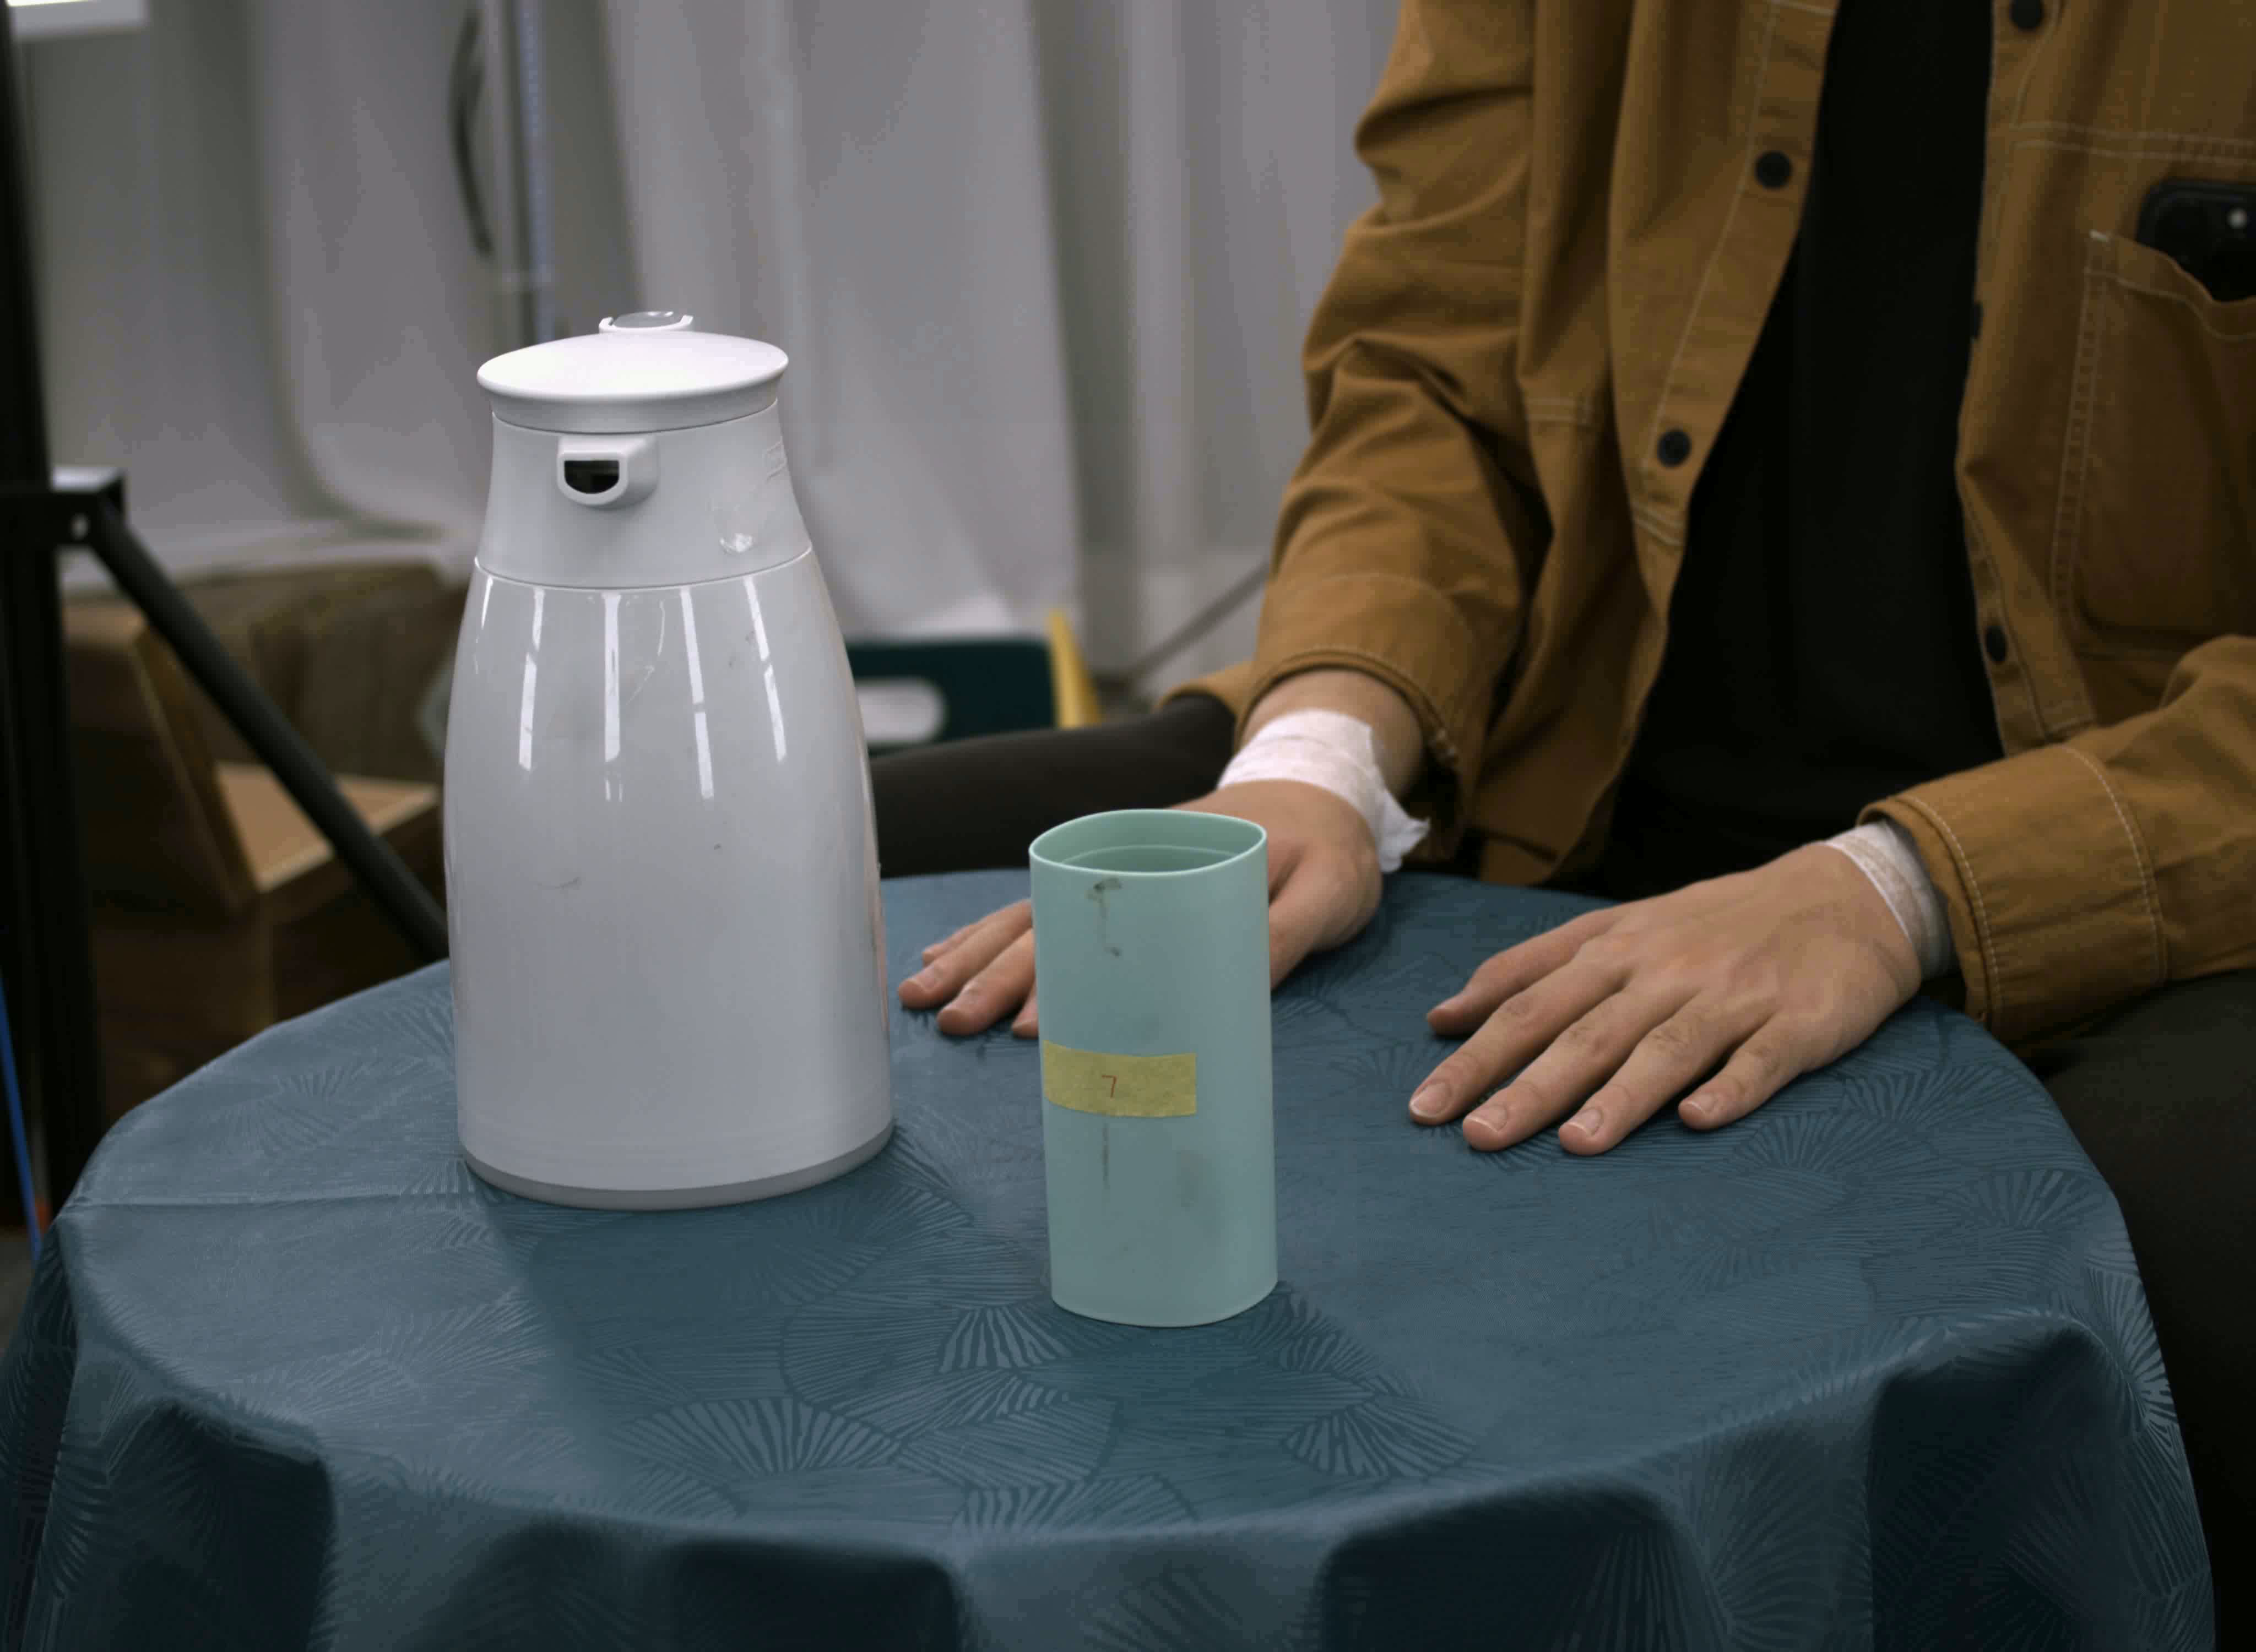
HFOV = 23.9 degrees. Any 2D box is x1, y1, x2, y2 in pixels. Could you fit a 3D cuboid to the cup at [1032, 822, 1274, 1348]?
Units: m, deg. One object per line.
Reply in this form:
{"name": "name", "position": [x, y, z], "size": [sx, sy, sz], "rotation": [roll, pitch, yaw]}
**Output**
{"name": "cup", "position": [0.009, 0.070, 1.461], "size": [0.066, 0.132, 0.067], "rotation": [-2, 15, -1]}

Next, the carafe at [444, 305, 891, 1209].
{"name": "carafe", "position": [-0.140, -0.029, 1.610], "size": [0.133, 0.248, 0.167], "rotation": [-1, 15, 7]}
